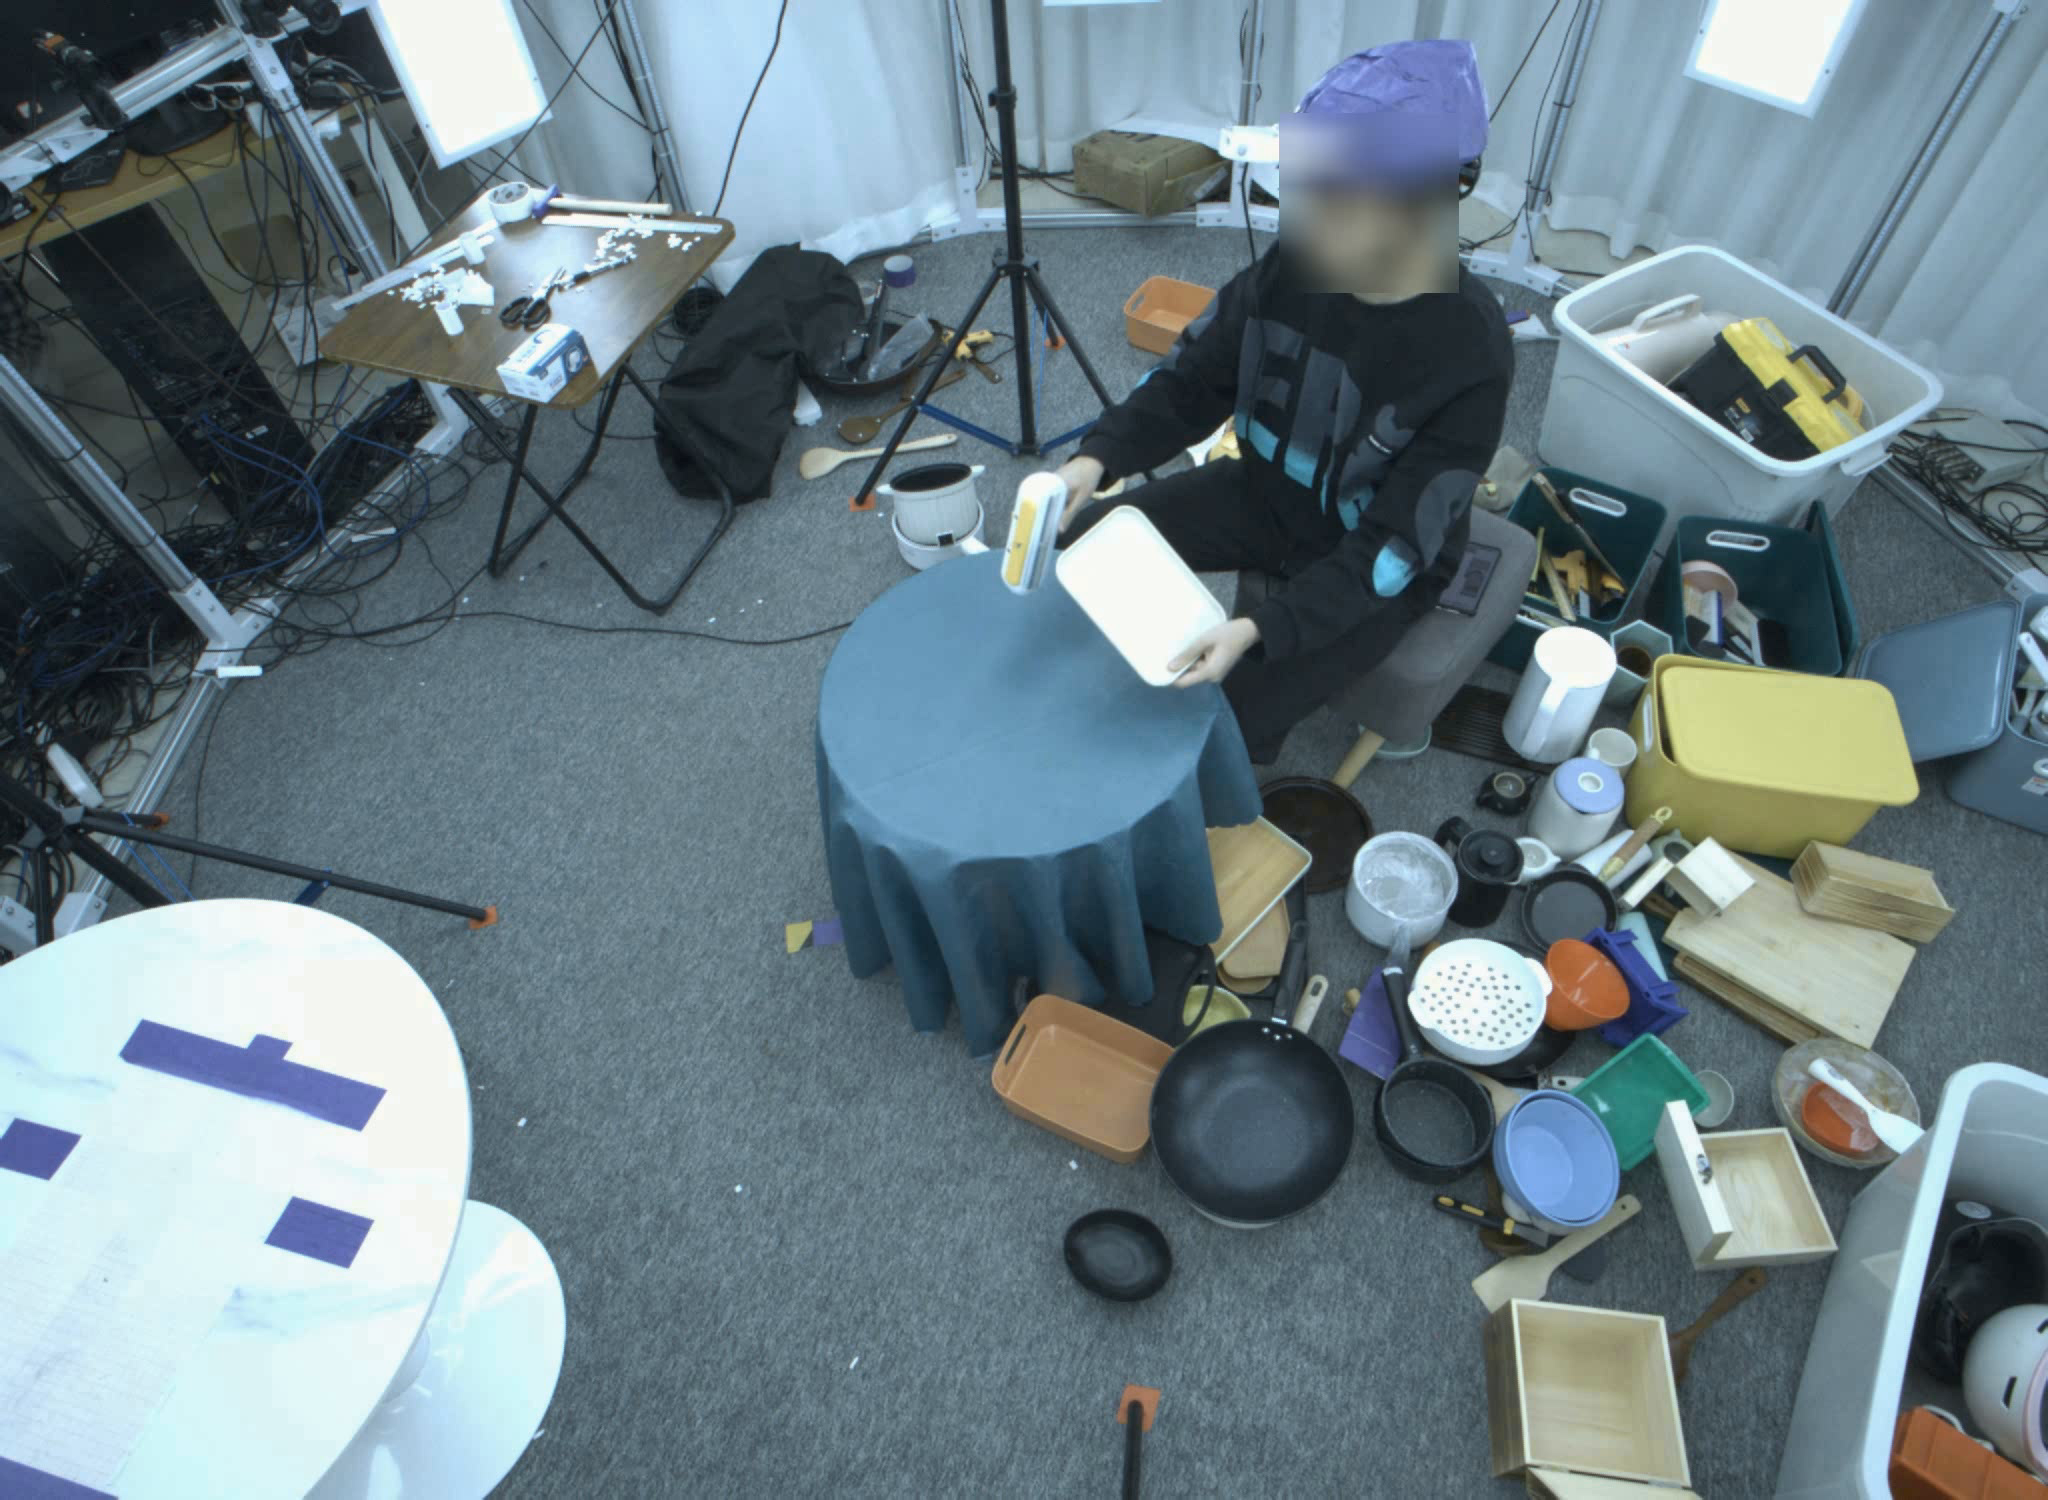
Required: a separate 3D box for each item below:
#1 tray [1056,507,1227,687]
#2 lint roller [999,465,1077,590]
[{"bbox_3d":[0.167,-0.217,1.749,0.172,0.017,0.241,-43,97,-21],"label":"tray"},{"bbox_3d":[0.037,-0.347,1.811,0.073,0.194,0.194,27,38,21],"label":"lint roller"}]
